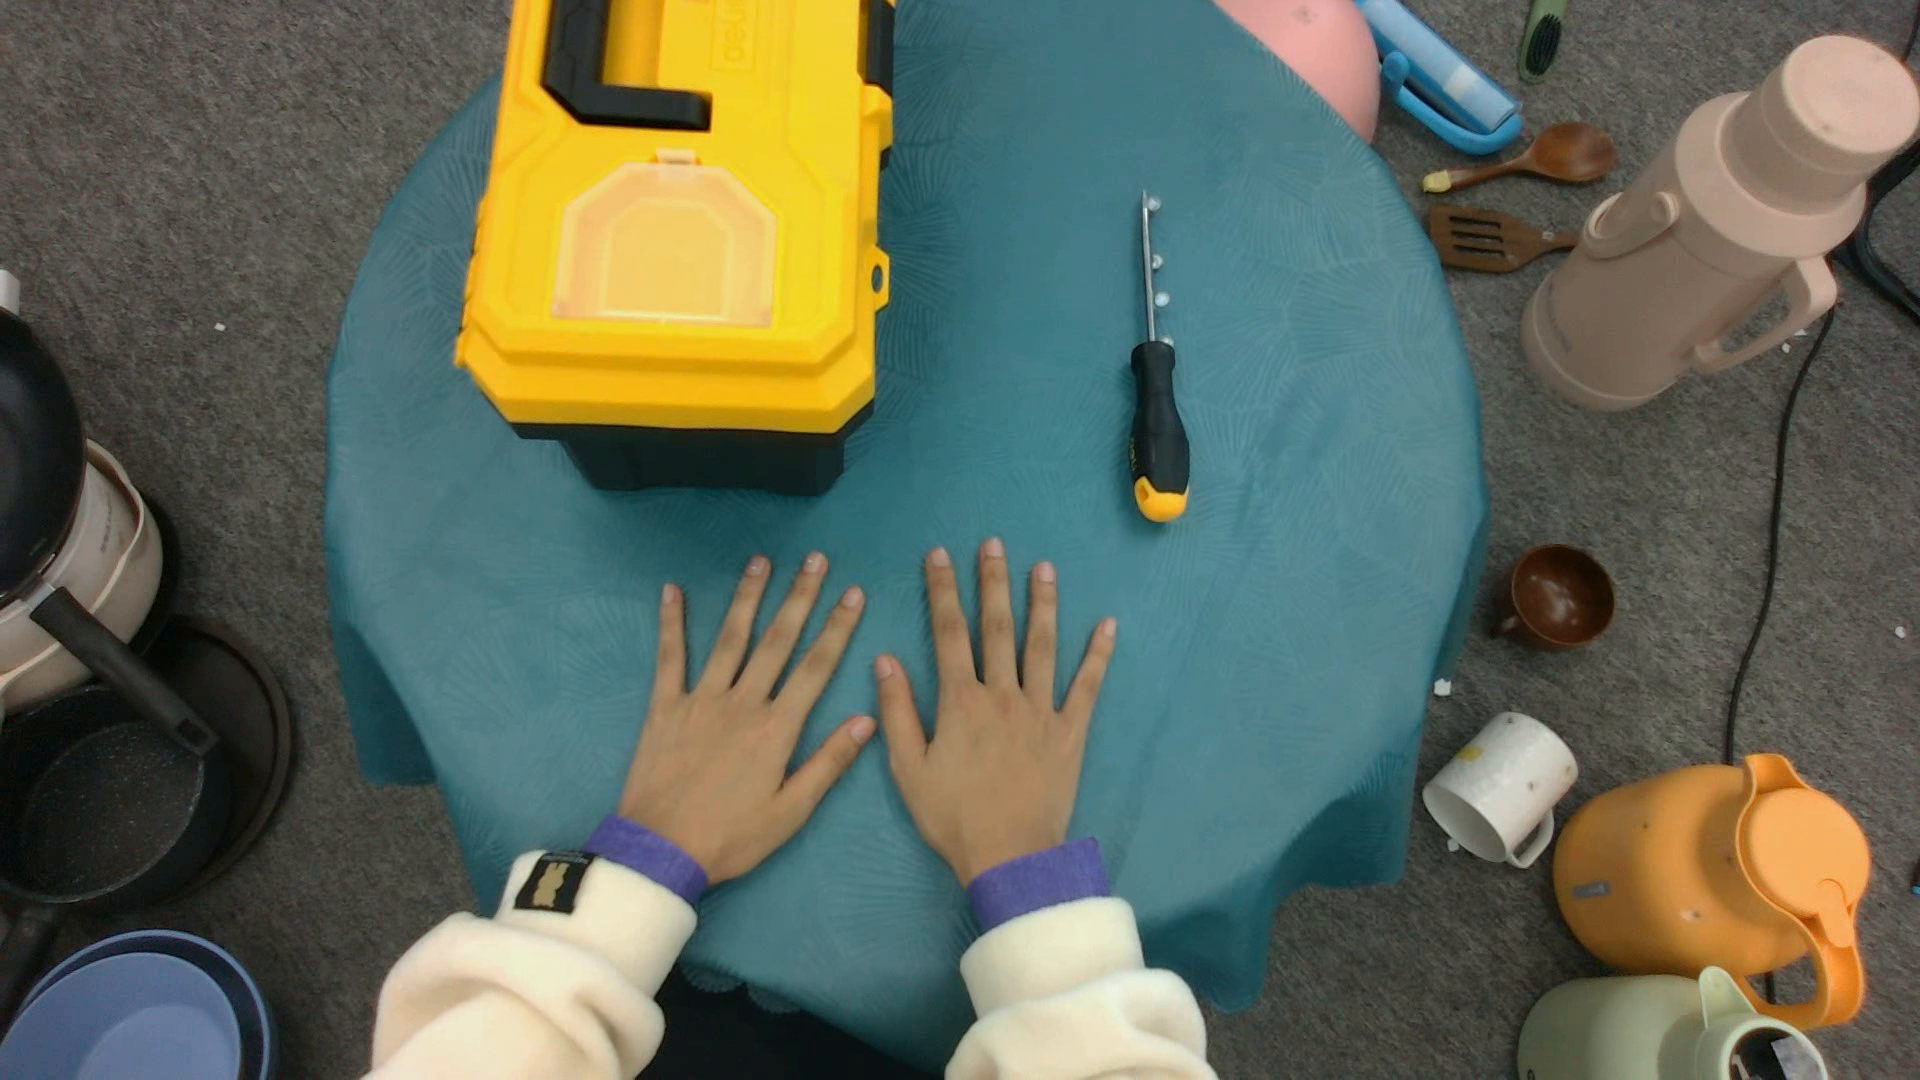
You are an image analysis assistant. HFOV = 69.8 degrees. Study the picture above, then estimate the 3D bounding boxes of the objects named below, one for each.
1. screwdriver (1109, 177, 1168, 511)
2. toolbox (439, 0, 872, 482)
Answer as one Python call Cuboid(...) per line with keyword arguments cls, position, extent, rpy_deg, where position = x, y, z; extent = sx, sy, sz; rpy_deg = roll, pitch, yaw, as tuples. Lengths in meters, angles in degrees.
Cuboid(cls="screwdriver", position=(0.092, -0.108, 0.736), extent=(0.031, 0.031, 0.198), rpy_deg=(1, 66, -4))
Cuboid(cls="toolbox", position=(-0.131, -0.205, 0.664), extent=(0.181, 0.172, 0.352), rpy_deg=(2, 70, -4))
